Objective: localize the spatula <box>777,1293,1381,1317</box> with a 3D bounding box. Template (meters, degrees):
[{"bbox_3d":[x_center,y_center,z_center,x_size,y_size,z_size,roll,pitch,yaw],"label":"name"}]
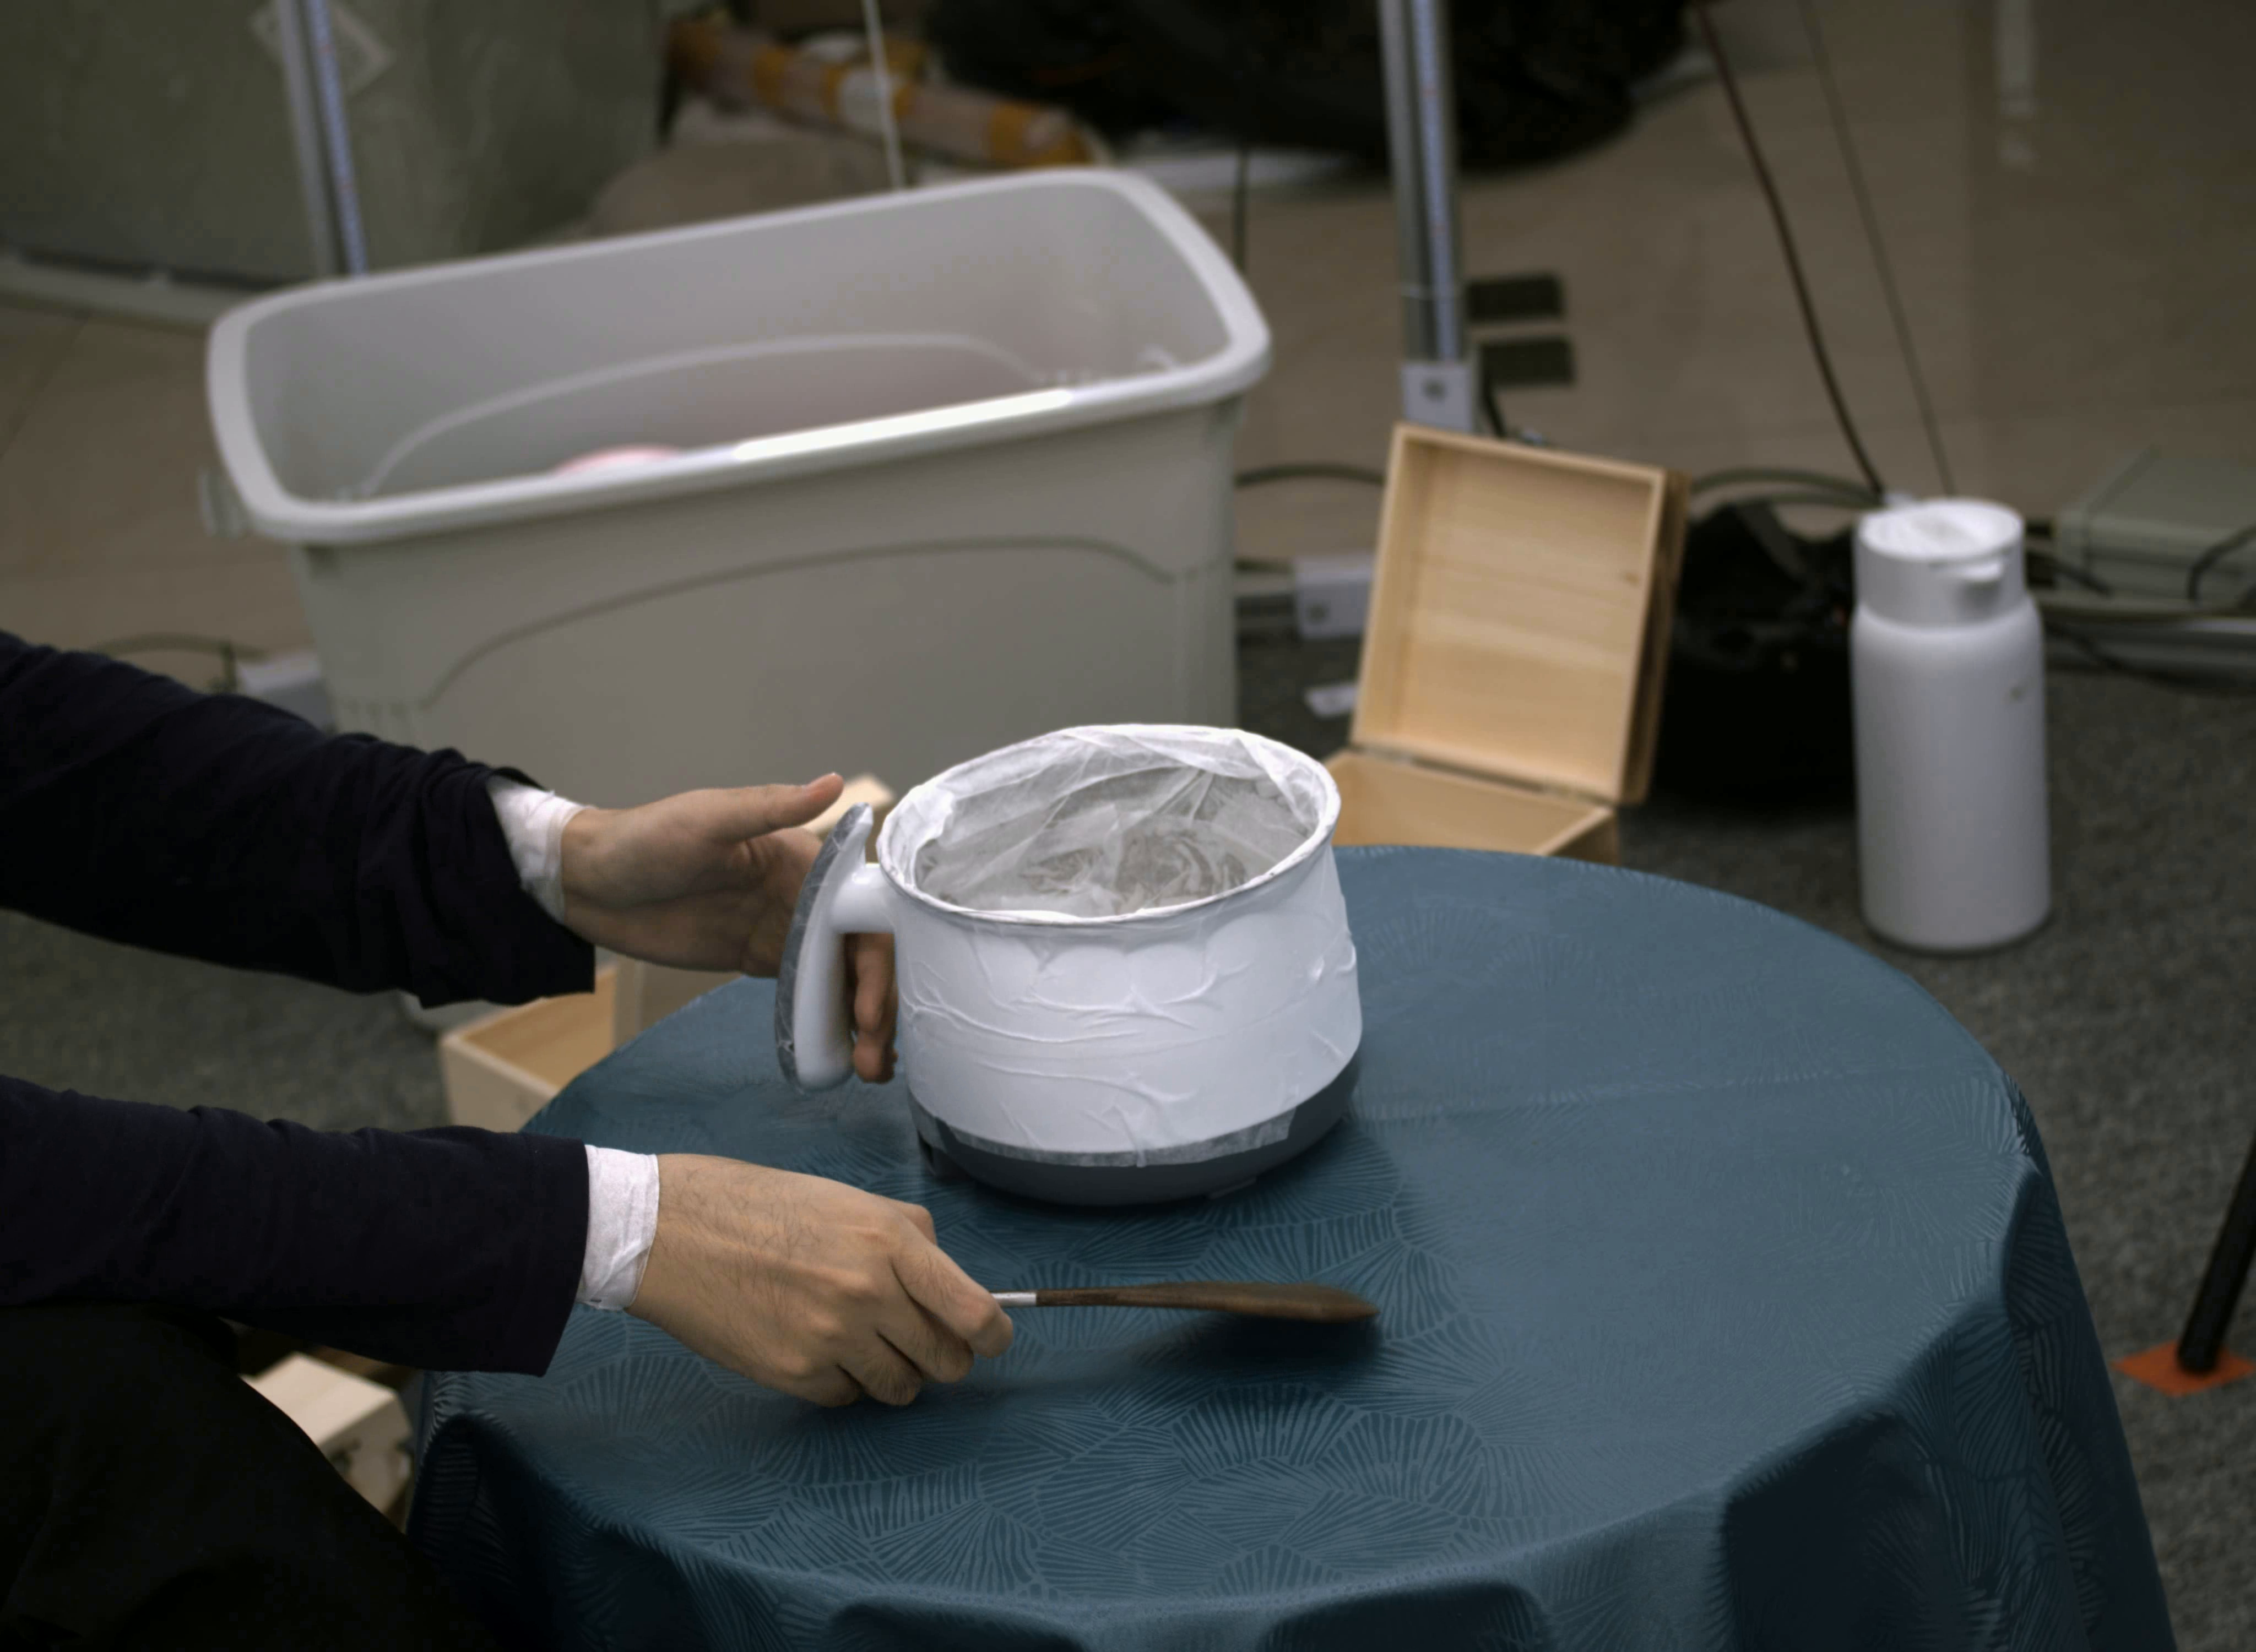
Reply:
[{"bbox_3d":[-0.017,0.172,2.025,0.215,0.009,0.072,-1,-3,-2],"label":"spatula"}]

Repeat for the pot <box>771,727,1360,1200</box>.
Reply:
[{"bbox_3d":[-0.027,0.053,2.174,0.233,0.138,0.176,2,24,14],"label":"pot"}]
